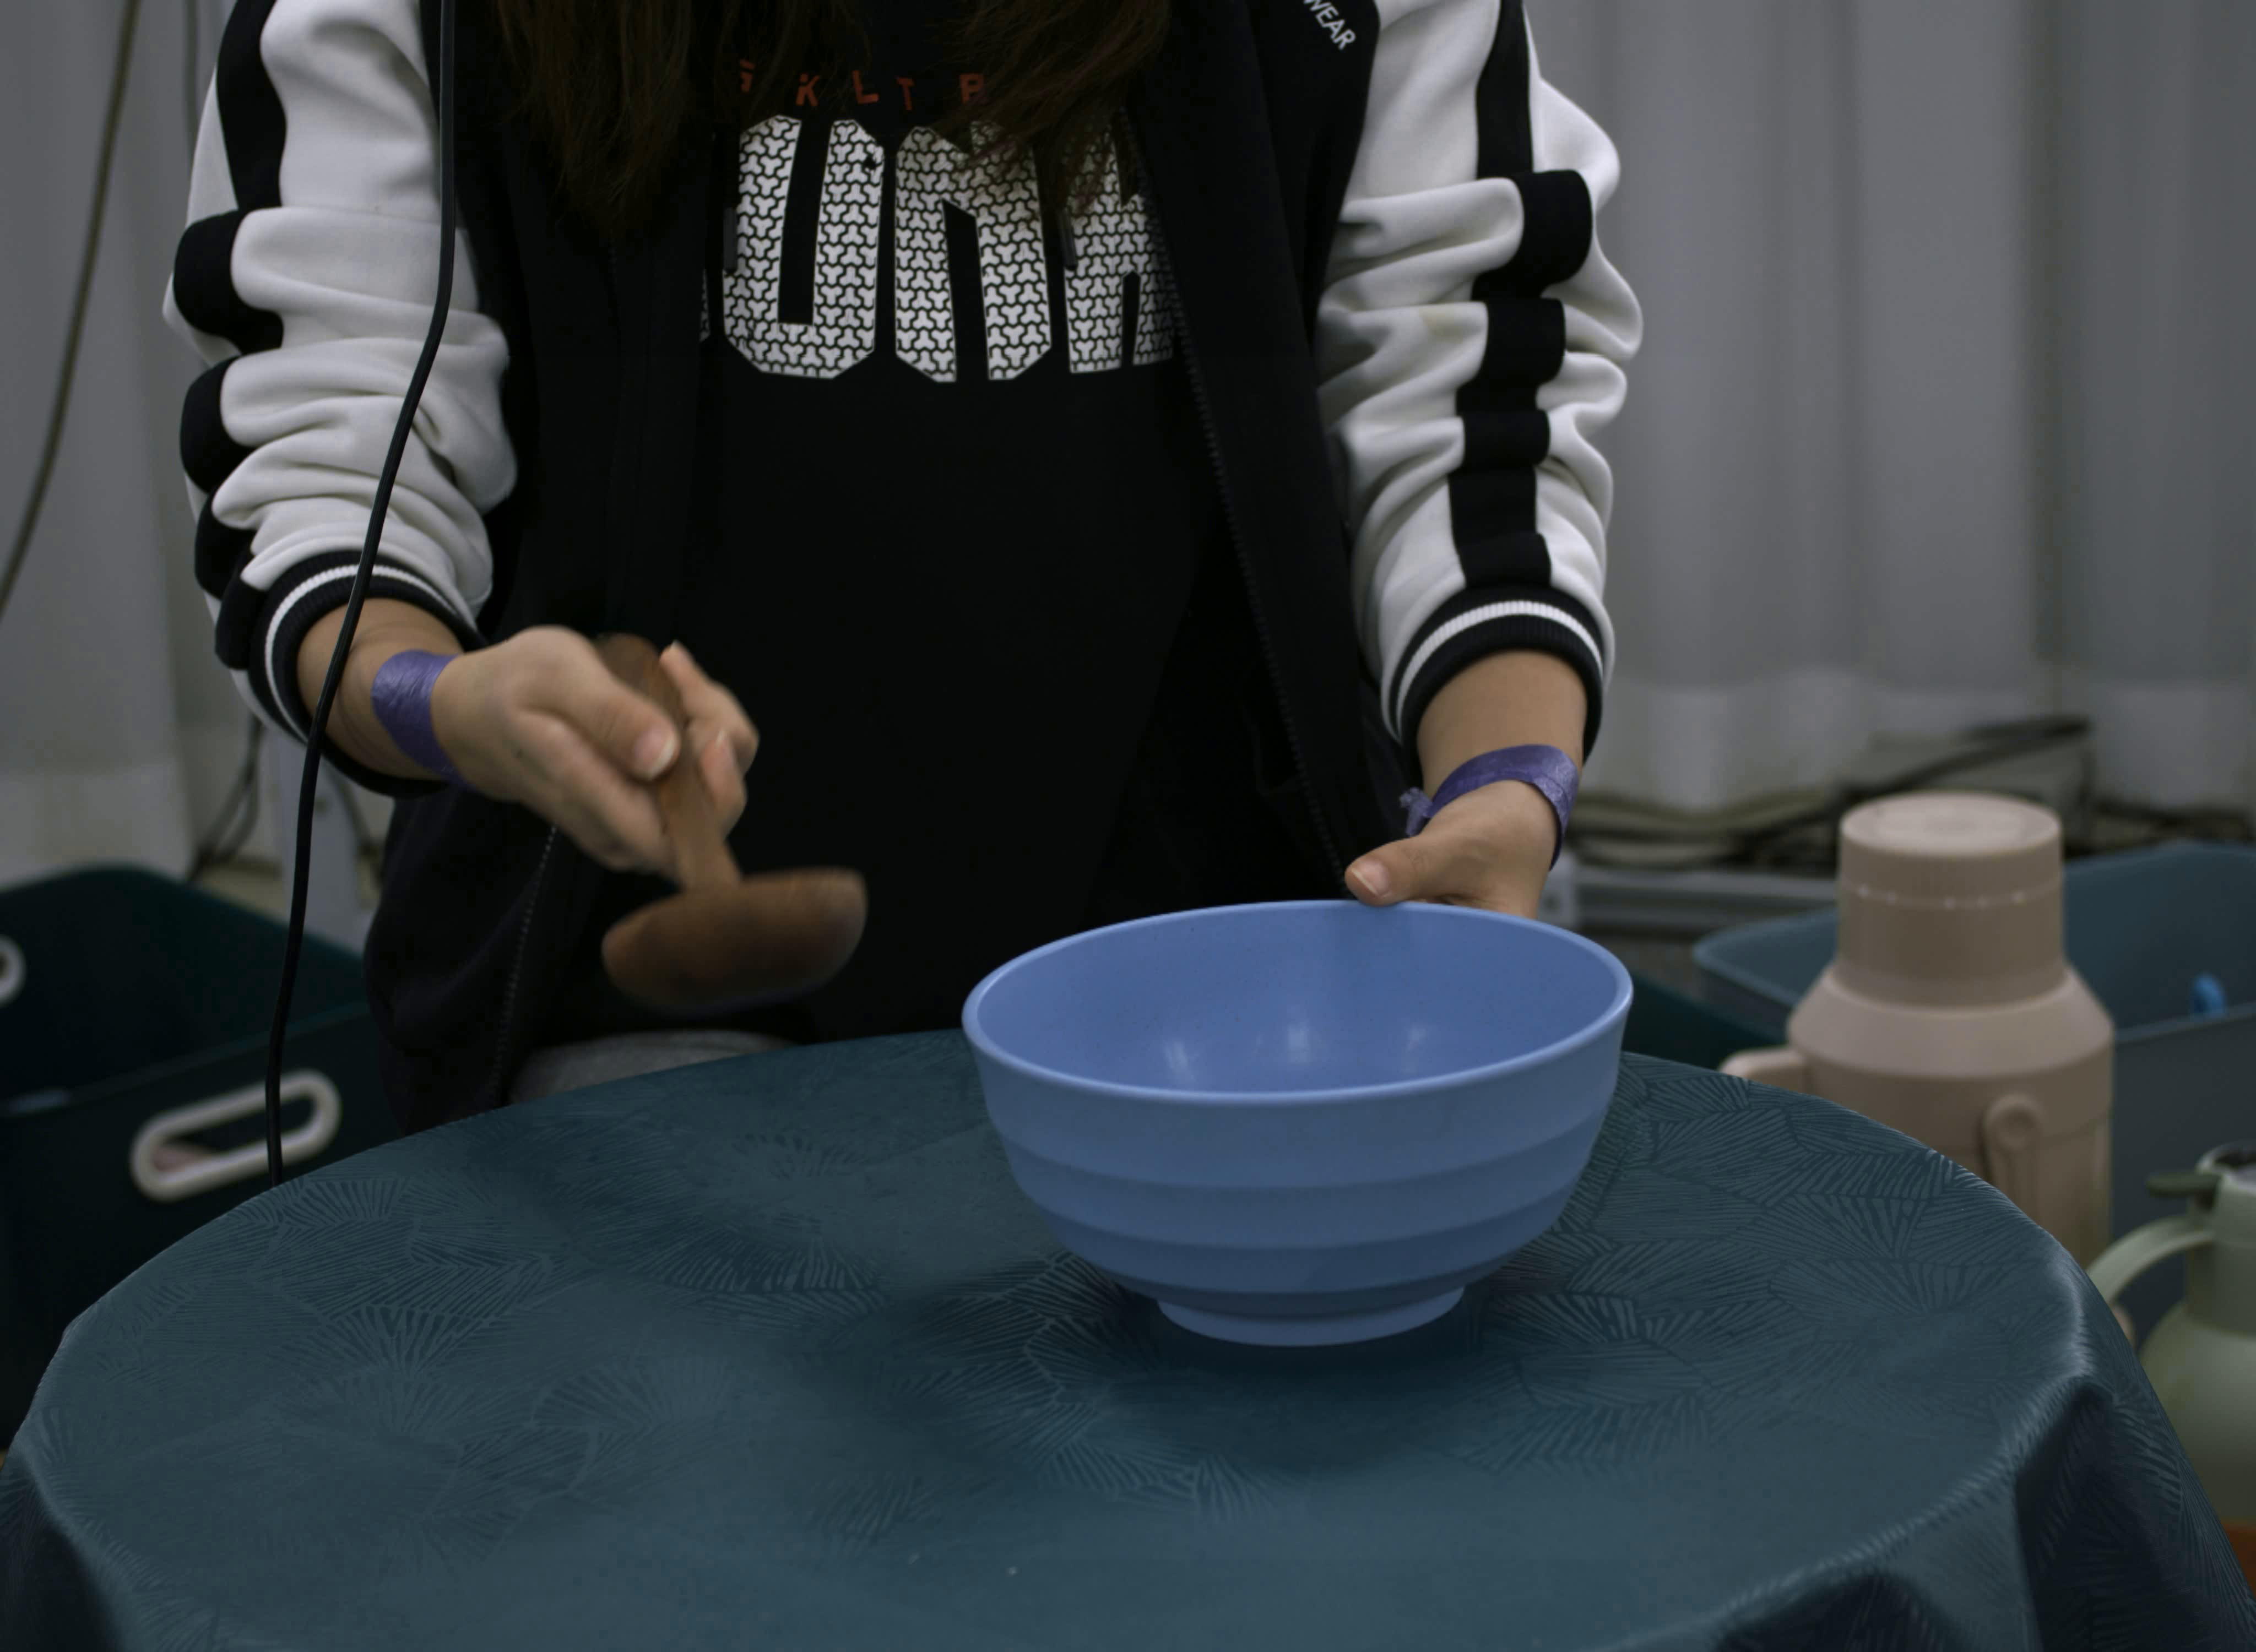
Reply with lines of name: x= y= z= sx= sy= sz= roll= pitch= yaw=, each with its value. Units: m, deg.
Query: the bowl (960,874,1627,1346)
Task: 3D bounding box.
bowl: x=0.054 y=0.091 z=1.611 sx=0.196 sy=0.095 sz=0.198 roll=-7 pitch=18 yaw=2

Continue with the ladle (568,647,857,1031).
ladle: x=-0.136 y=-0.011 z=1.622 sx=0.076 sy=0.064 sz=0.264 roll=-7 pitch=30 yaw=-12
